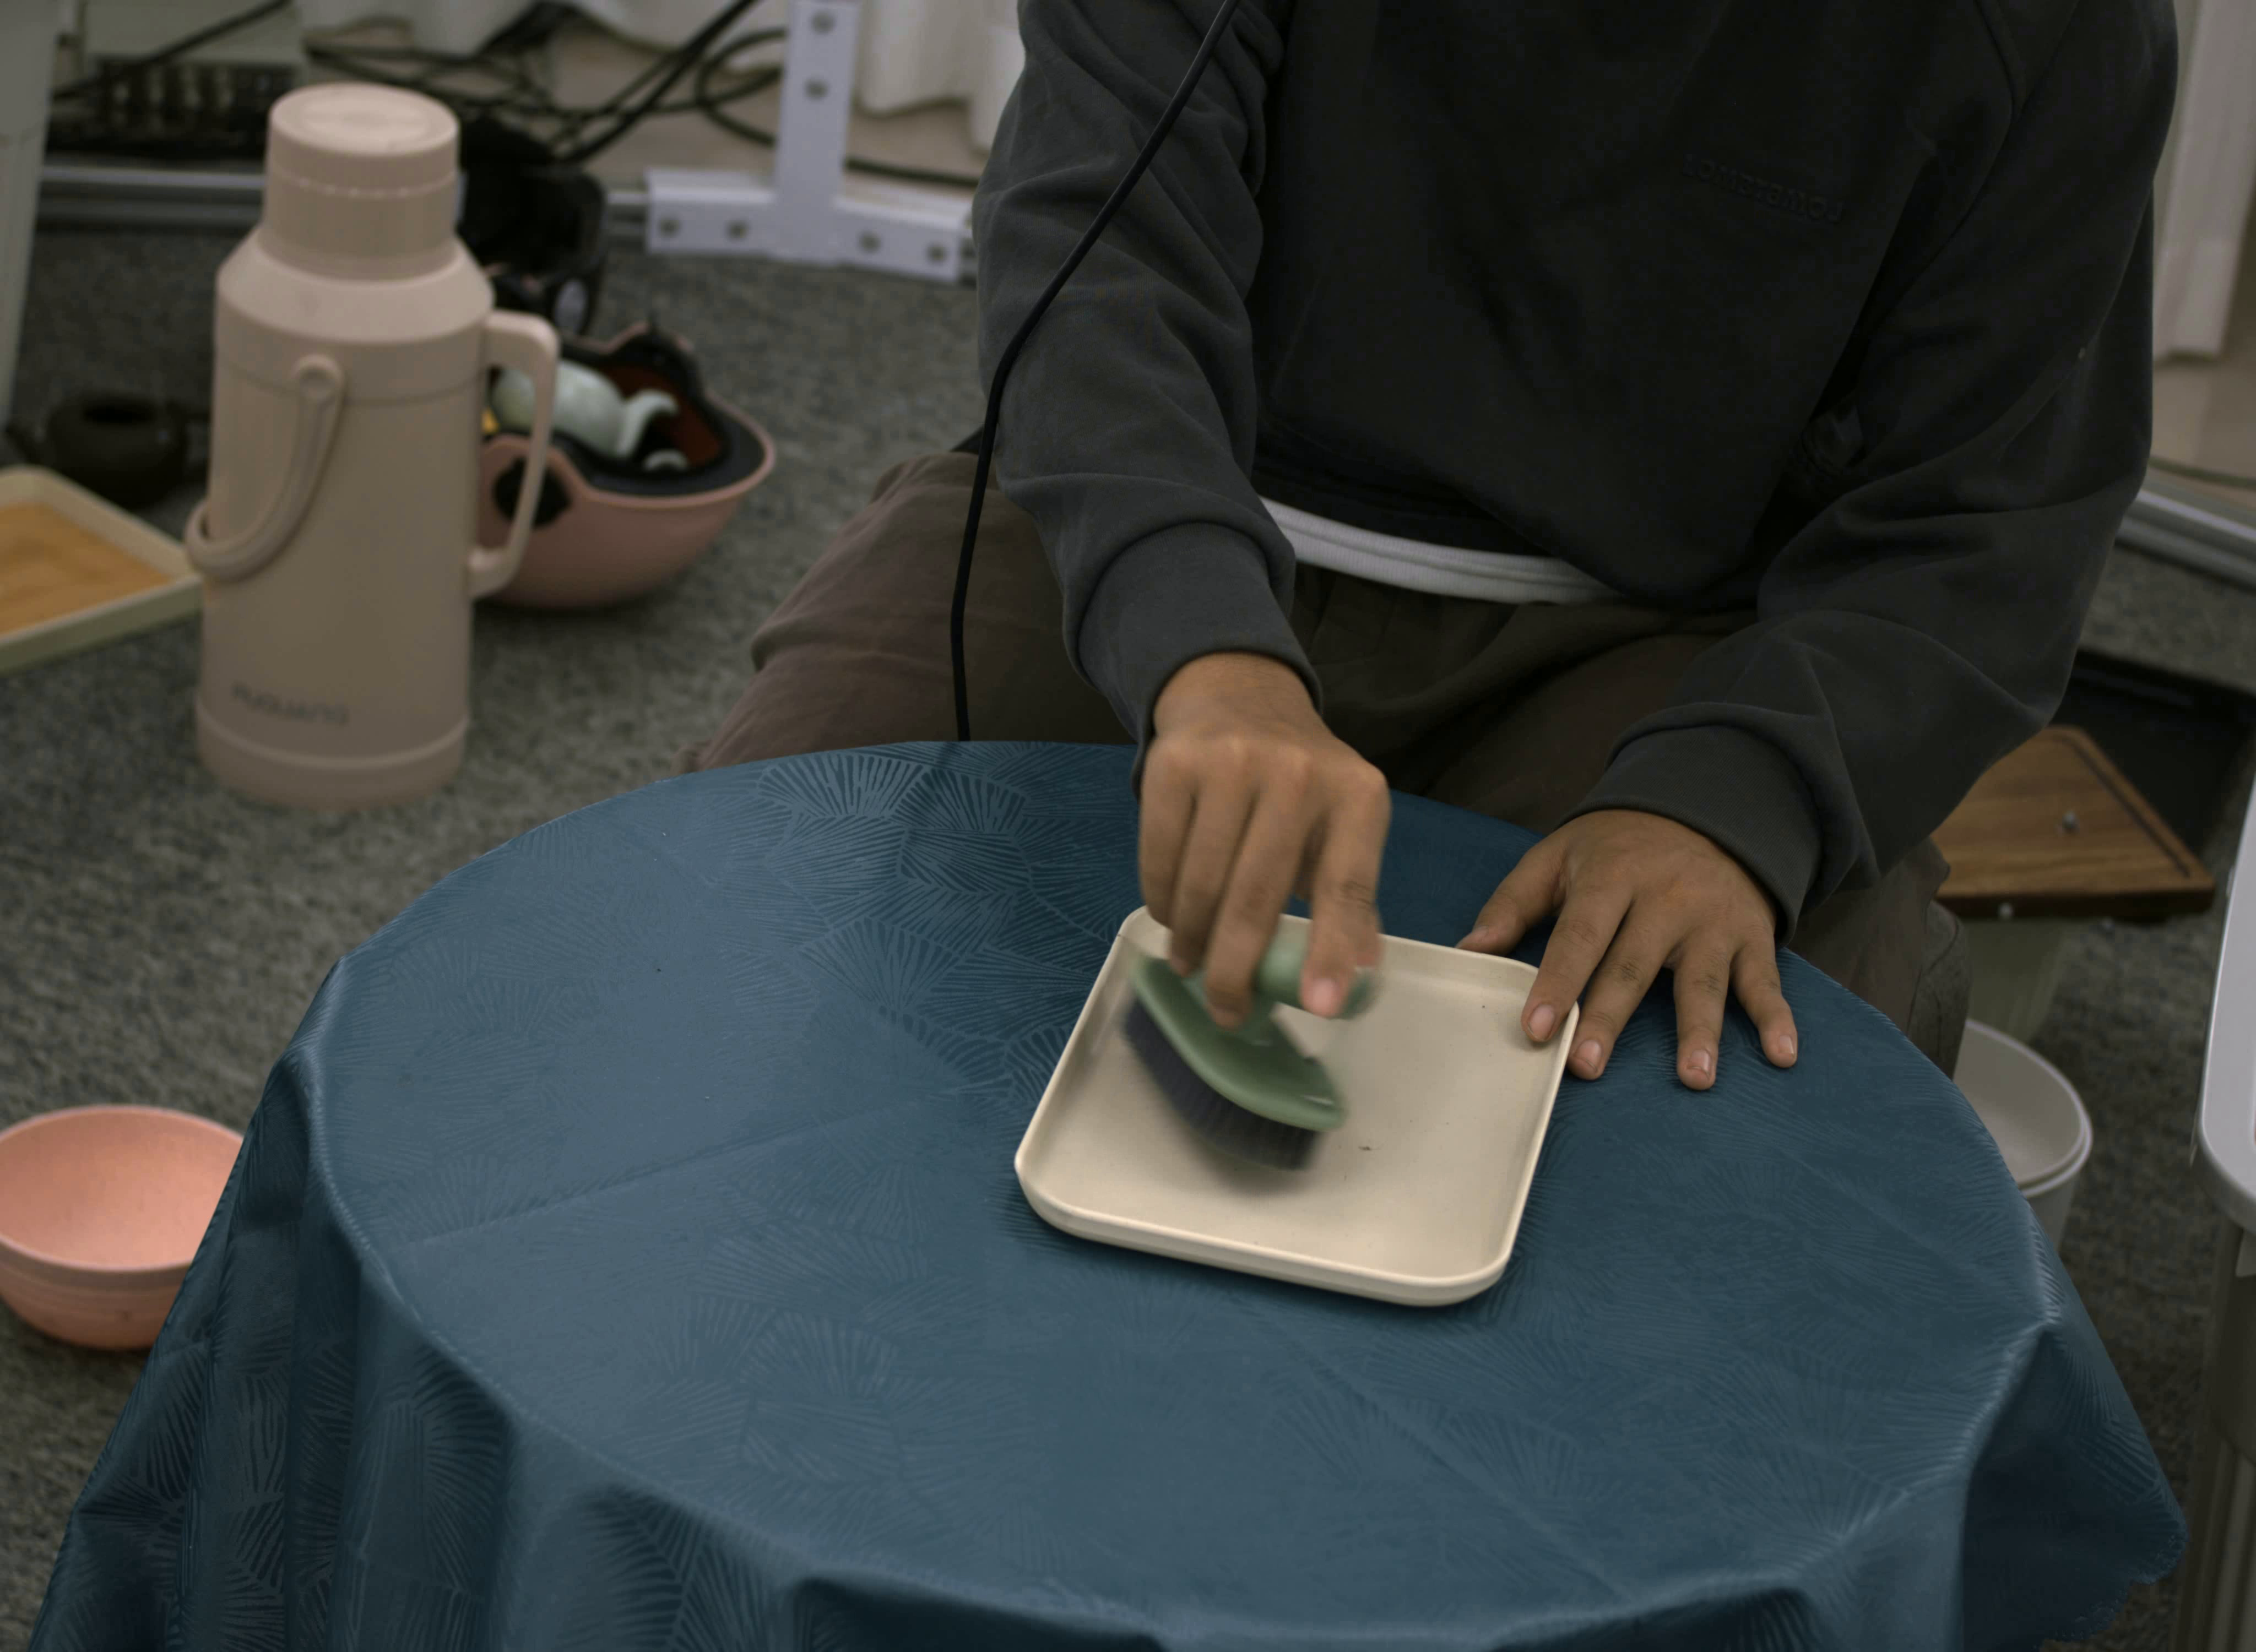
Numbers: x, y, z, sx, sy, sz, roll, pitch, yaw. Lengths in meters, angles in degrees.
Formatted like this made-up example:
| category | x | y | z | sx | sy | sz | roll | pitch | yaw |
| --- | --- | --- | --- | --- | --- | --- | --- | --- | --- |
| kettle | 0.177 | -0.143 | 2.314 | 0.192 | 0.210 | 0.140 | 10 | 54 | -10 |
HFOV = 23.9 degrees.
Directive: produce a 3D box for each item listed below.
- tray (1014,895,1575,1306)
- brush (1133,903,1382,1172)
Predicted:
| category | x | y | z | sx | sy | sz | roll | pitch | yaw |
| --- | --- | --- | --- | --- | --- | --- | --- | --- | --- |
| tray | 0.061 | 0.094 | 1.859 | 0.171 | 0.017 | 0.240 | 12 | 27 | 8 |
| brush | 0.044 | 0.071 | 1.840 | 0.059 | 0.076 | 0.124 | 13 | 6 | -26 |
